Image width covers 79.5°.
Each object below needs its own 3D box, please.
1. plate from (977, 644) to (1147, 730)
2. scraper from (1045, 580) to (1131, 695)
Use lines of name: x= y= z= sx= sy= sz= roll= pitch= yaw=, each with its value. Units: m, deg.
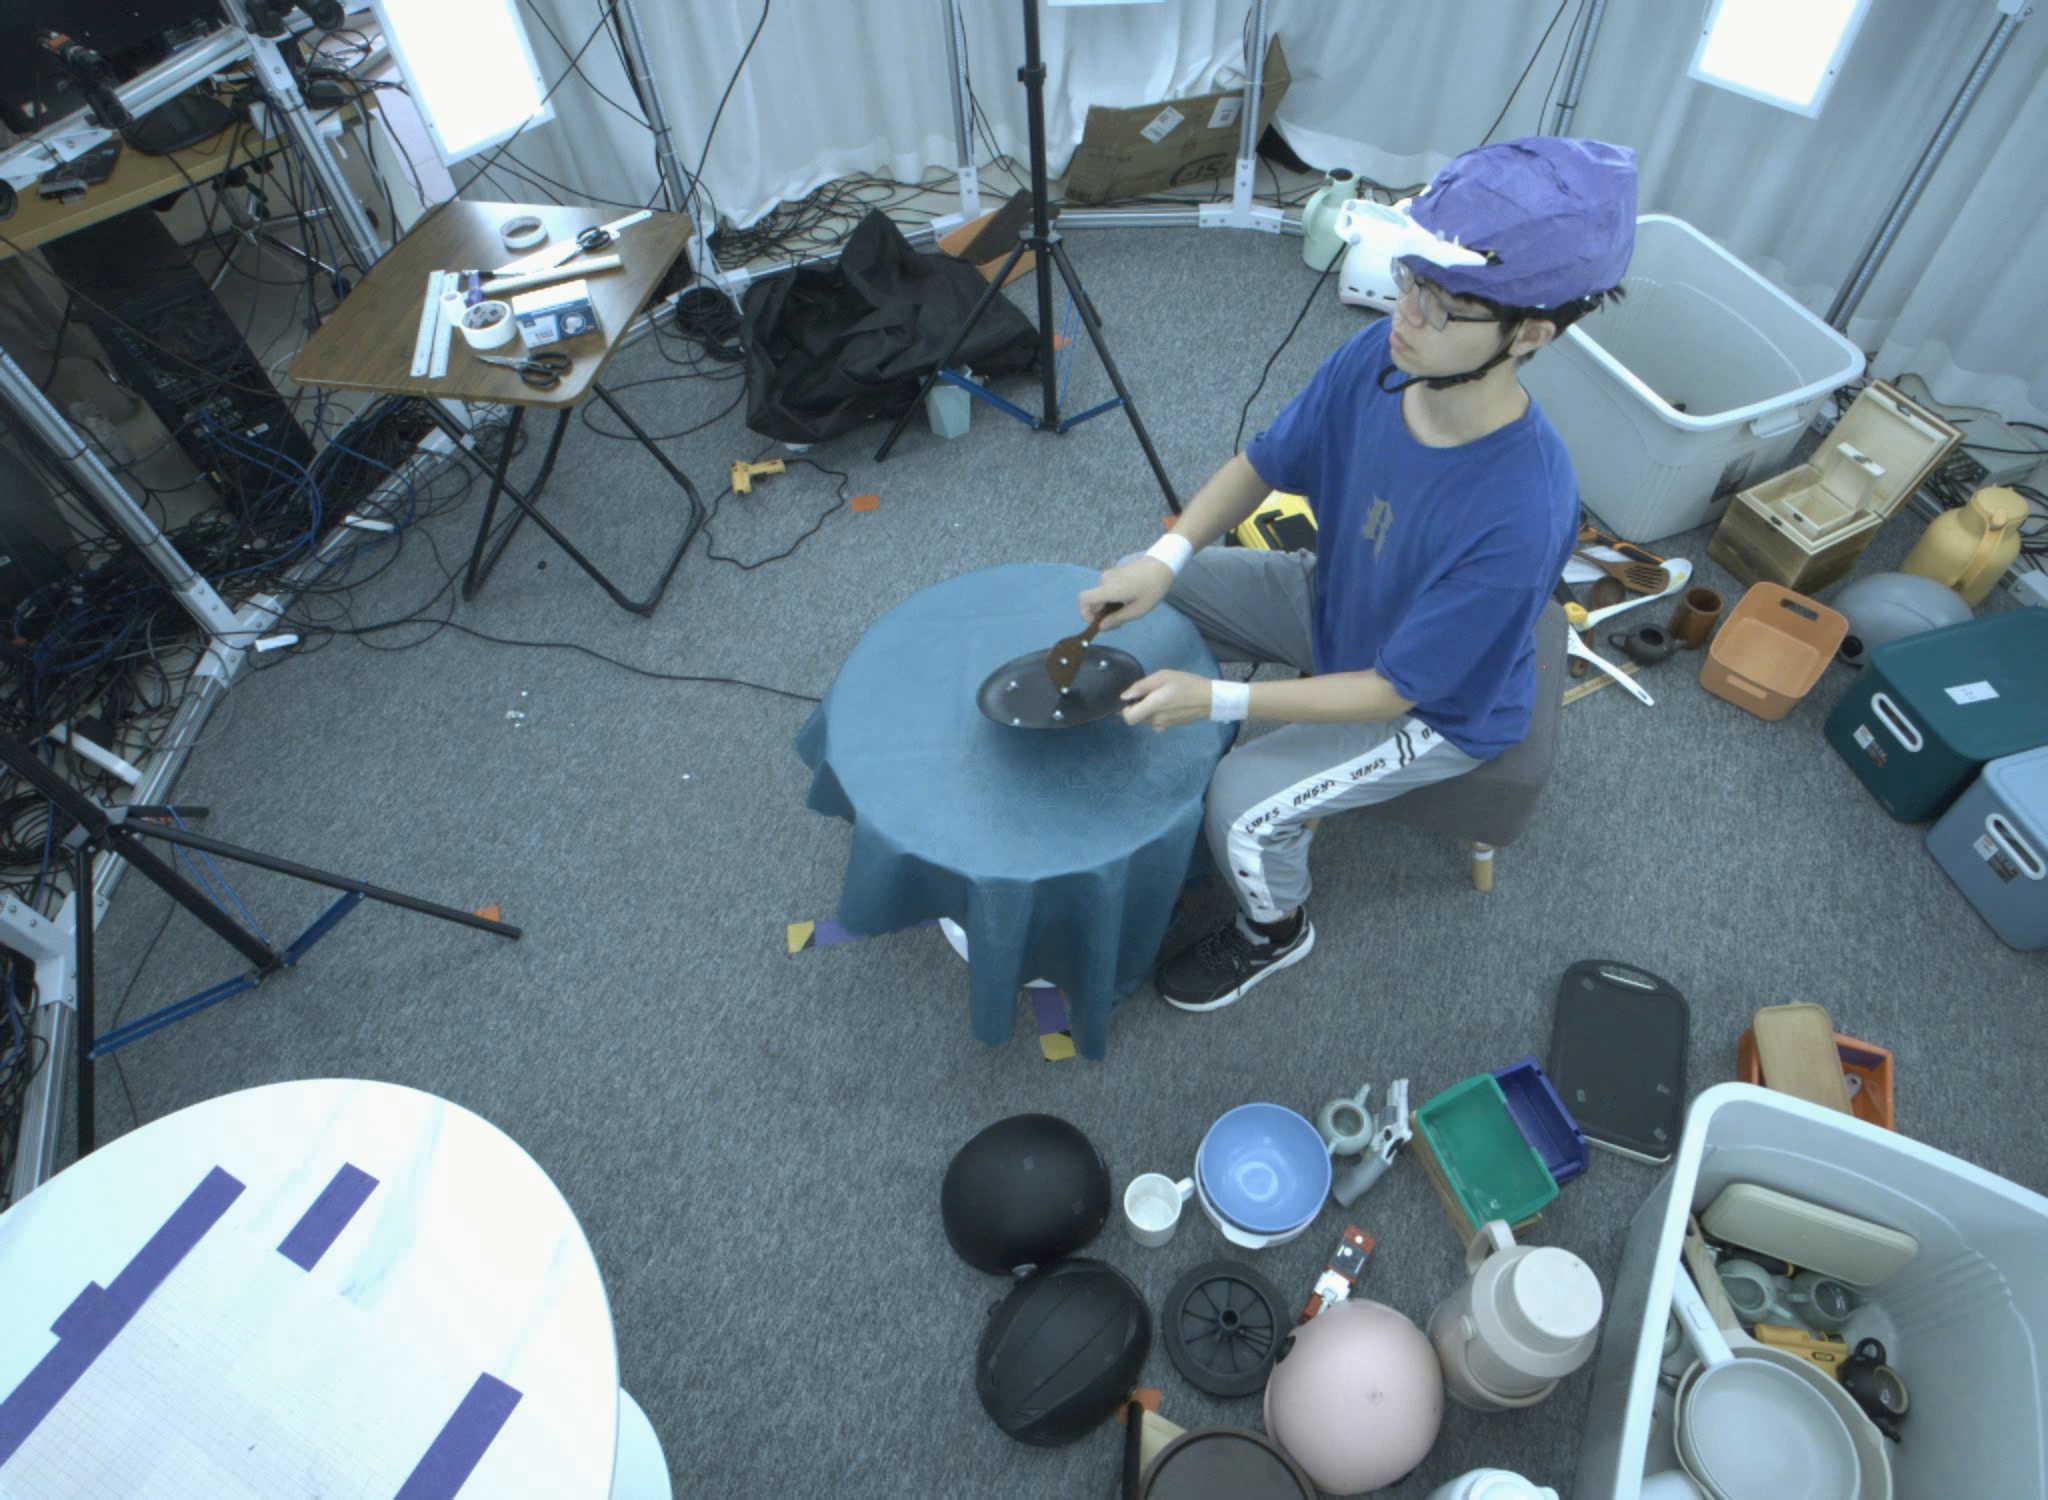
plate: x=0.054 y=-0.085 z=1.740 sx=0.243 sy=0.024 sz=0.242 roll=-7 pitch=31 yaw=6
scraper: x=0.094 y=-0.170 z=1.757 sx=0.010 sy=0.077 sz=0.212 roll=18 pitch=56 yaw=36
